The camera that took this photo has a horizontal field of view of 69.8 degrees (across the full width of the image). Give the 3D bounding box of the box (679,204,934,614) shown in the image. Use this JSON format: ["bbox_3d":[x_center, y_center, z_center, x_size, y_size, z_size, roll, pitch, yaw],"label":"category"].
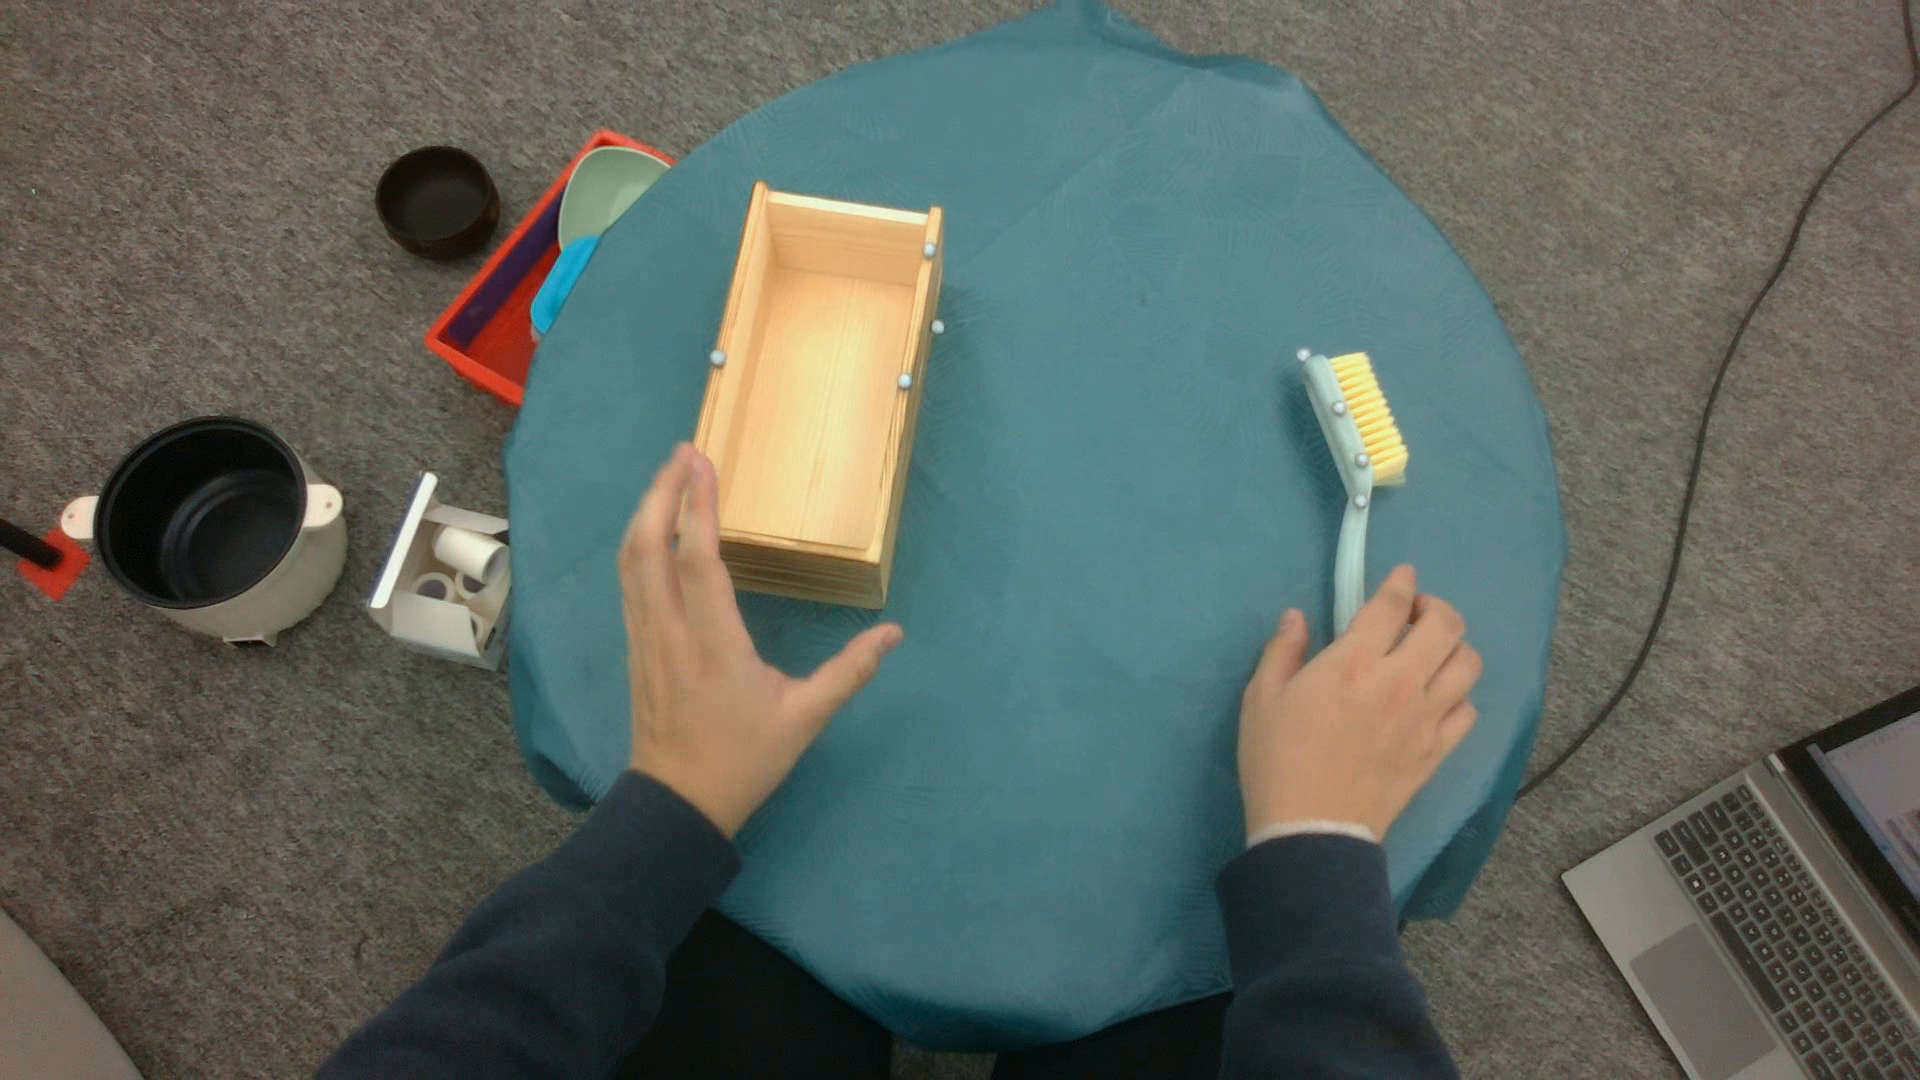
[{"bbox_3d":[-0.079,-0.074,0.770,0.107,0.080,0.212,5,69,2],"label":"box"}]

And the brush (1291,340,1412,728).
[{"bbox_3d":[0.229,-0.009,0.769,0.049,0.037,0.229,-7,69,5],"label":"brush"}]
